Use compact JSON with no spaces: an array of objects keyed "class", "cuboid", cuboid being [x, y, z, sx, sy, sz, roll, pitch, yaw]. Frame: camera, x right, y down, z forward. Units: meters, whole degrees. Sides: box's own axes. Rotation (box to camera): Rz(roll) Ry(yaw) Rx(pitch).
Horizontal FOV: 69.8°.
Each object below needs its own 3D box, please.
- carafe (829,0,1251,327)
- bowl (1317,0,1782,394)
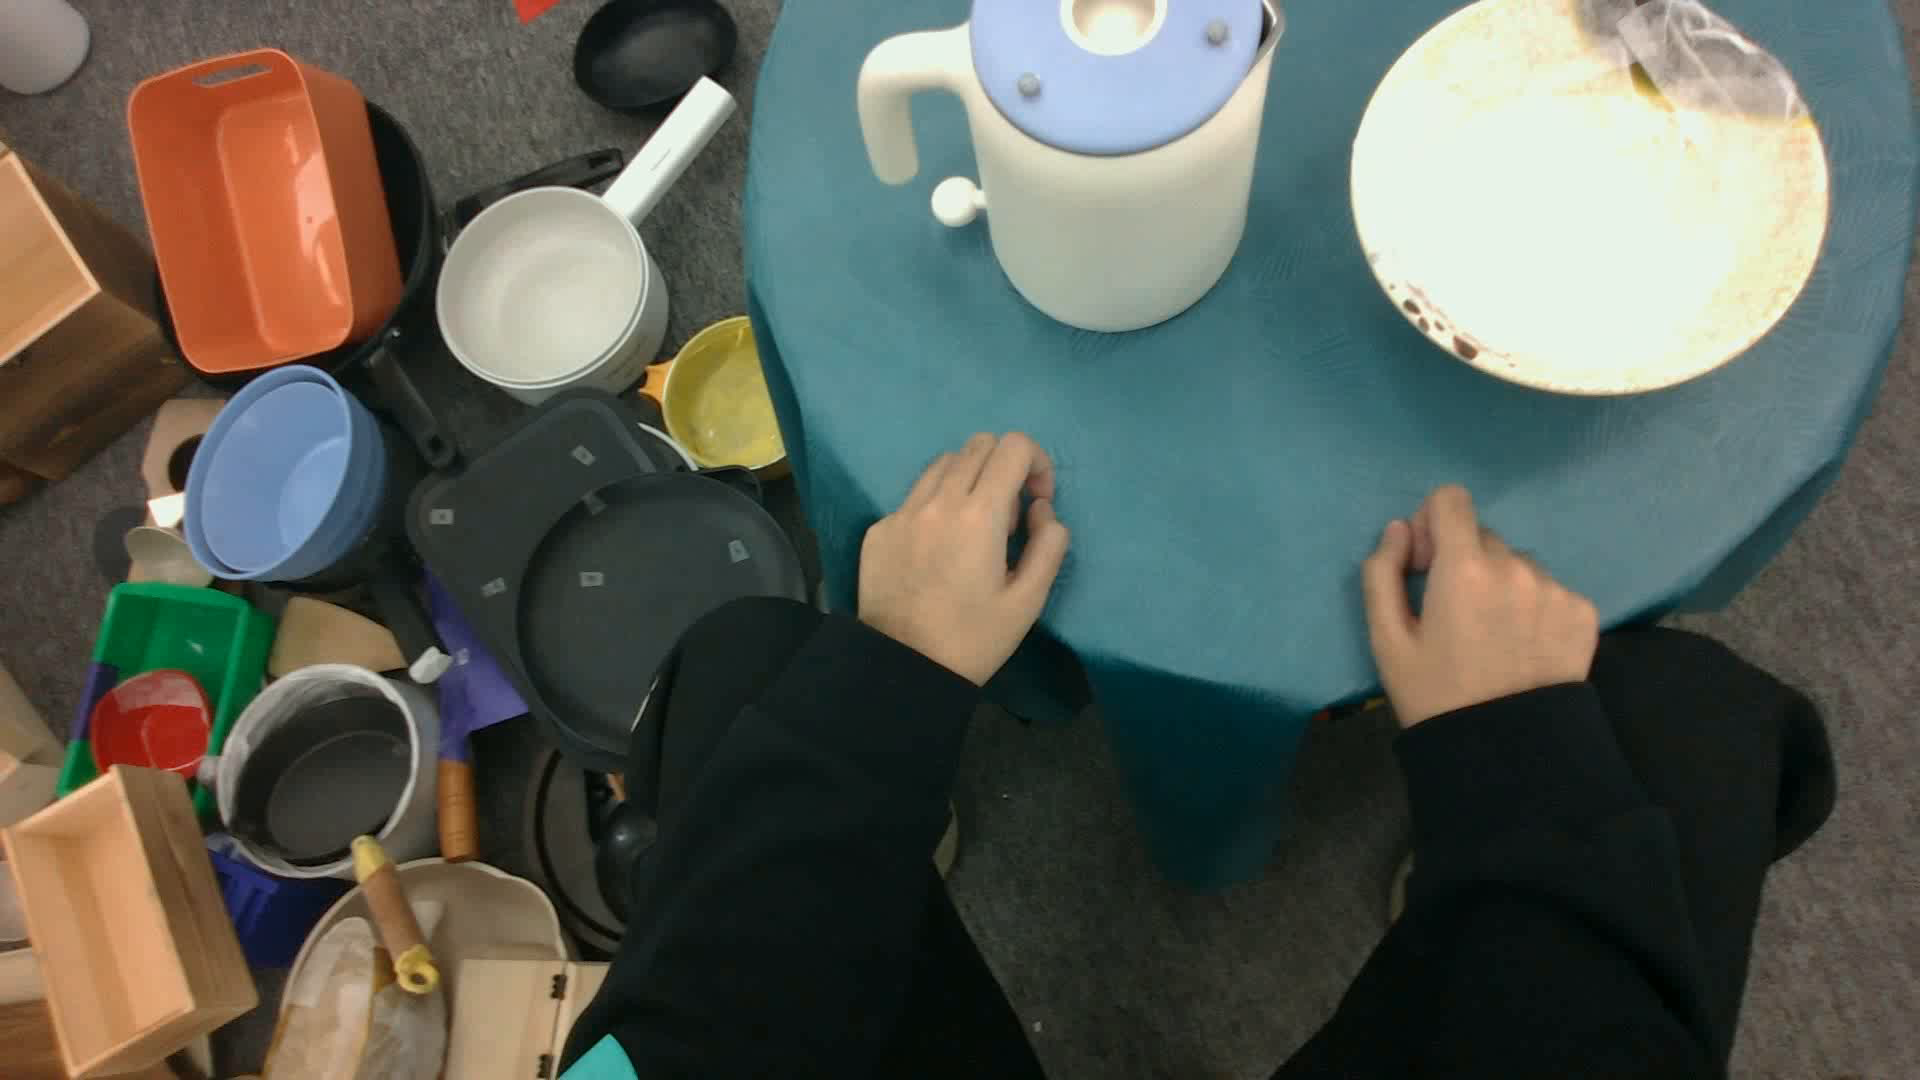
[{"class":"carafe","cuboid":[0.035,-0.191,0.646,0.191,0.182,0.132,0,74,8]},{"class":"bowl","cuboid":[0.271,-0.156,0.663,0.204,0.078,0.204,-1,77,6]}]
